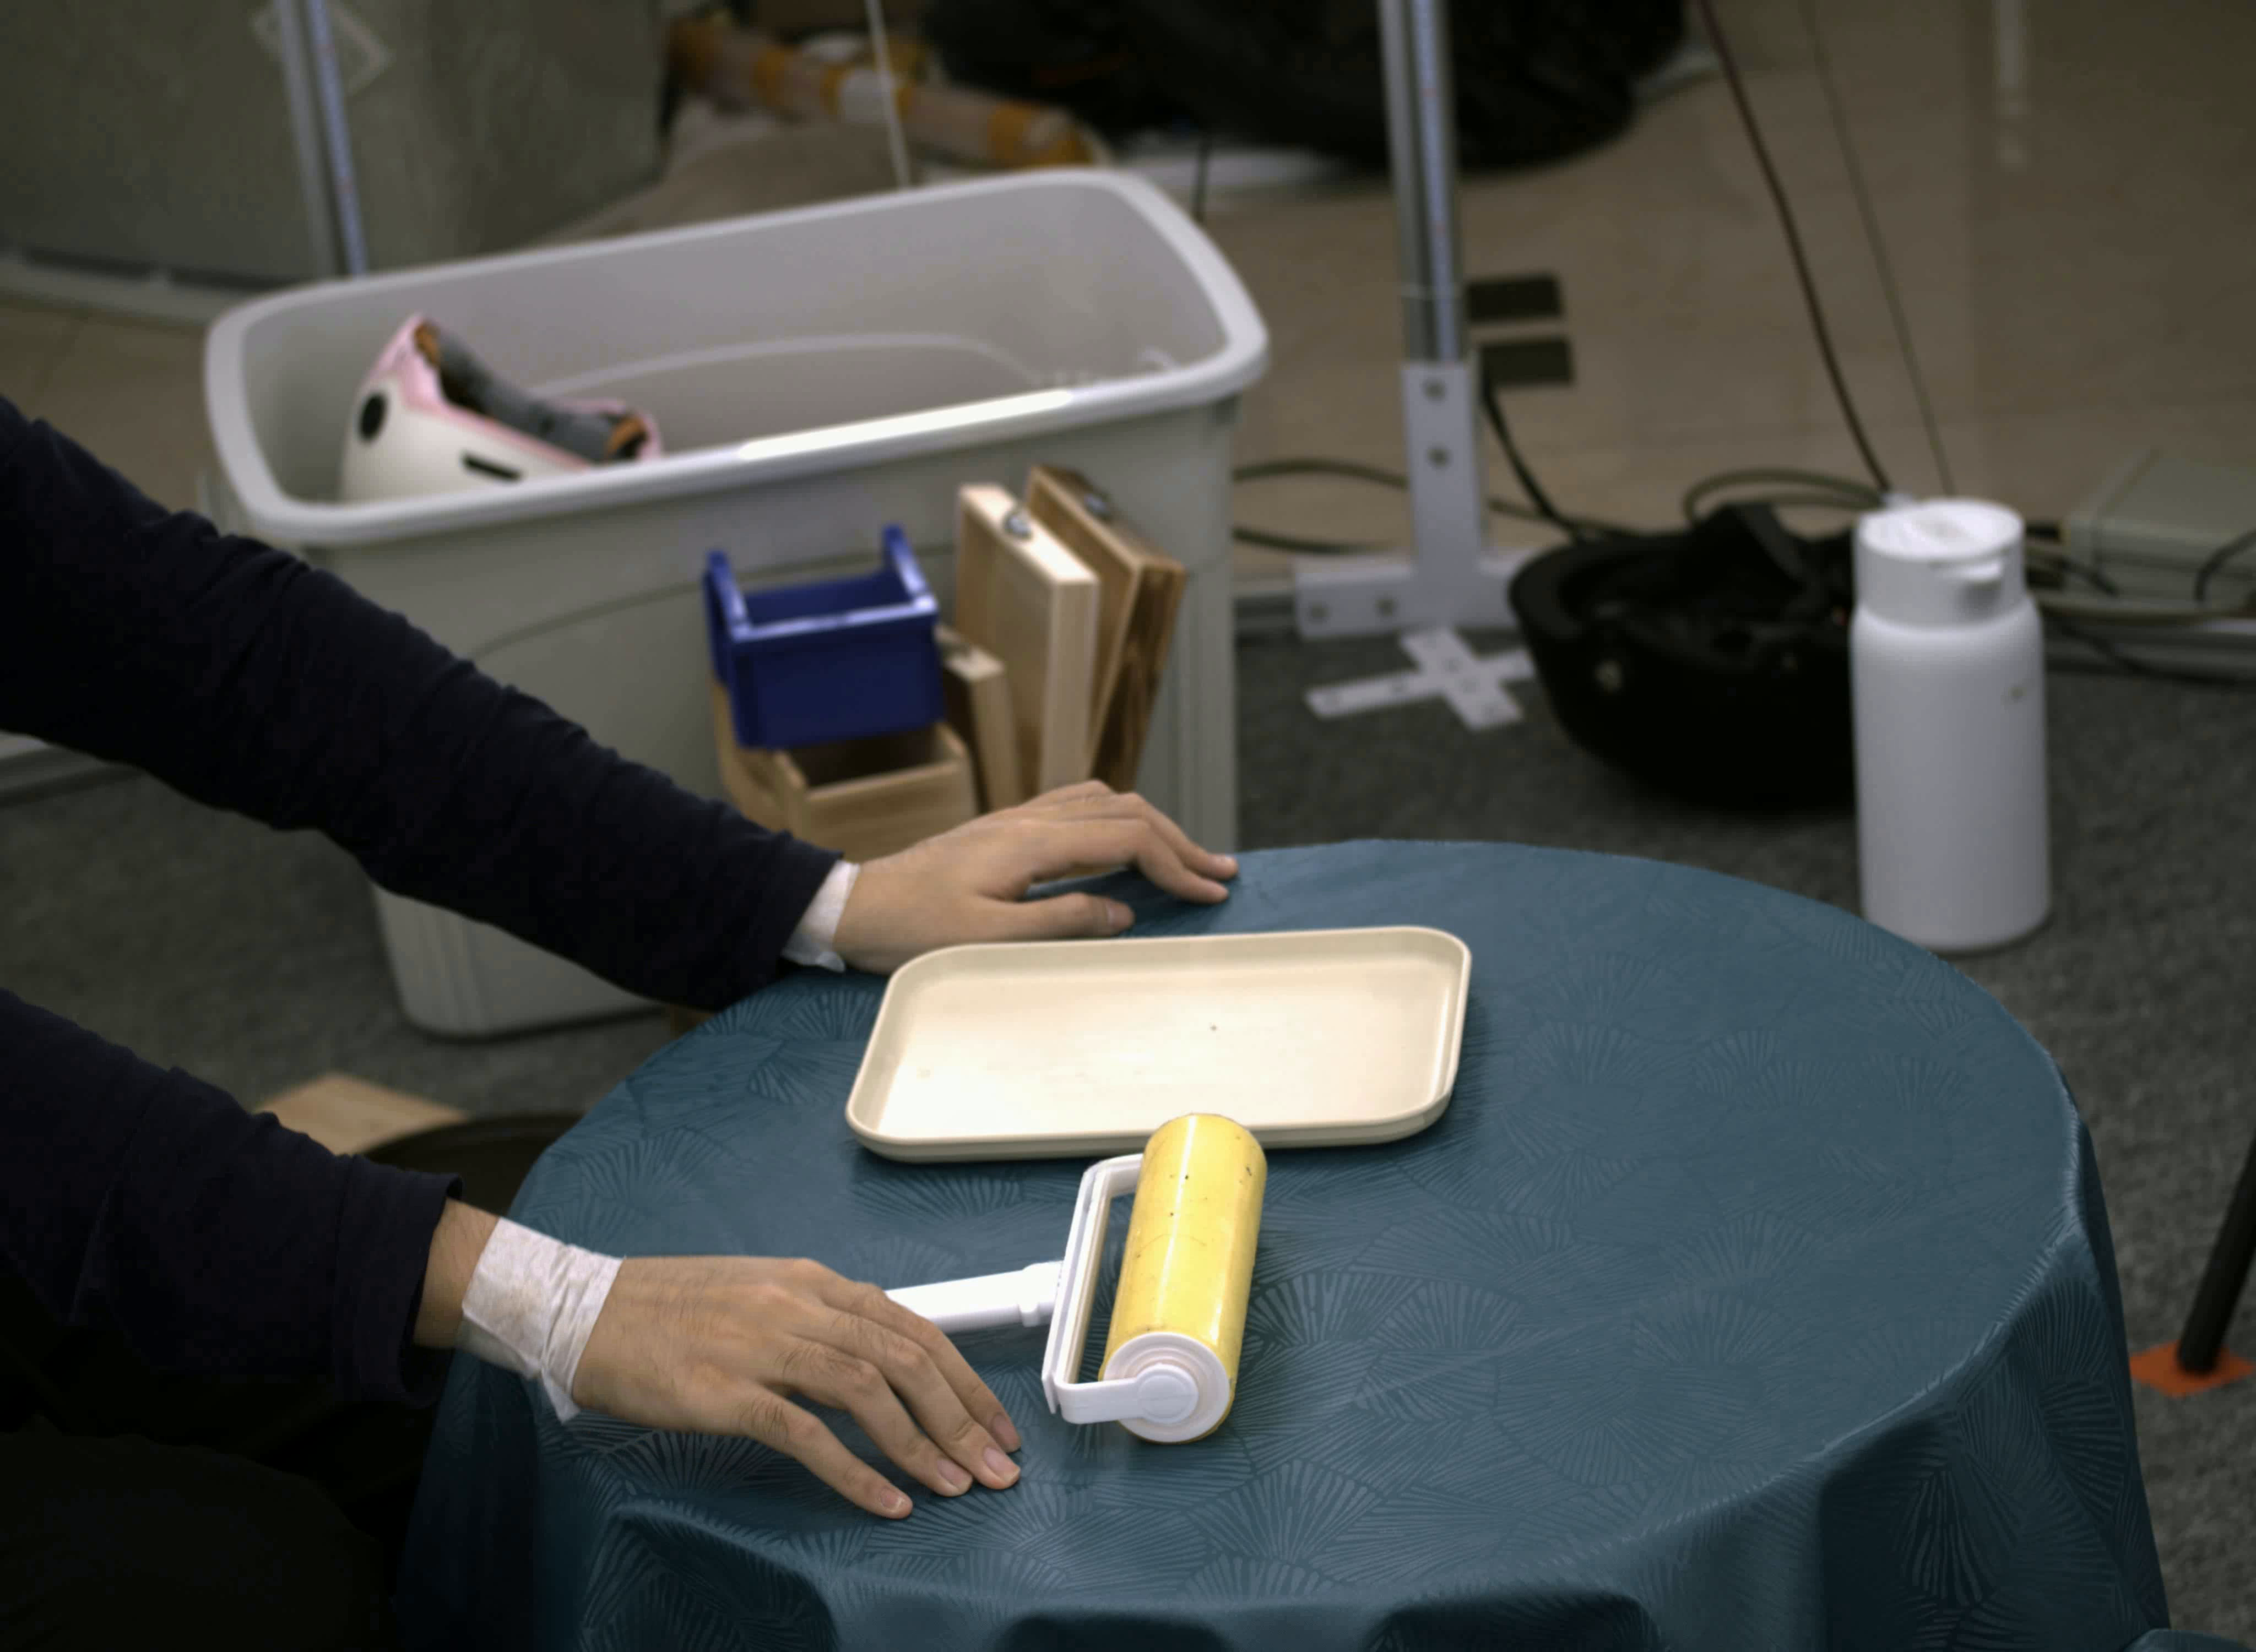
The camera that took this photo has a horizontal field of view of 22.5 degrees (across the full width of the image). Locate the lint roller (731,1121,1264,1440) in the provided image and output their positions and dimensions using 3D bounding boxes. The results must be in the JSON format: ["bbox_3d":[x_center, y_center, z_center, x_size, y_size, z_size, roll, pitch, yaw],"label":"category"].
[{"bbox_3d":[-0.050,0.165,2.048,0.191,0.052,0.172,-1,24,5],"label":"lint roller"}]

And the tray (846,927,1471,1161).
[{"bbox_3d":[0.015,0.087,2.239,0.239,0.018,0.169,-3,24,9],"label":"tray"}]
